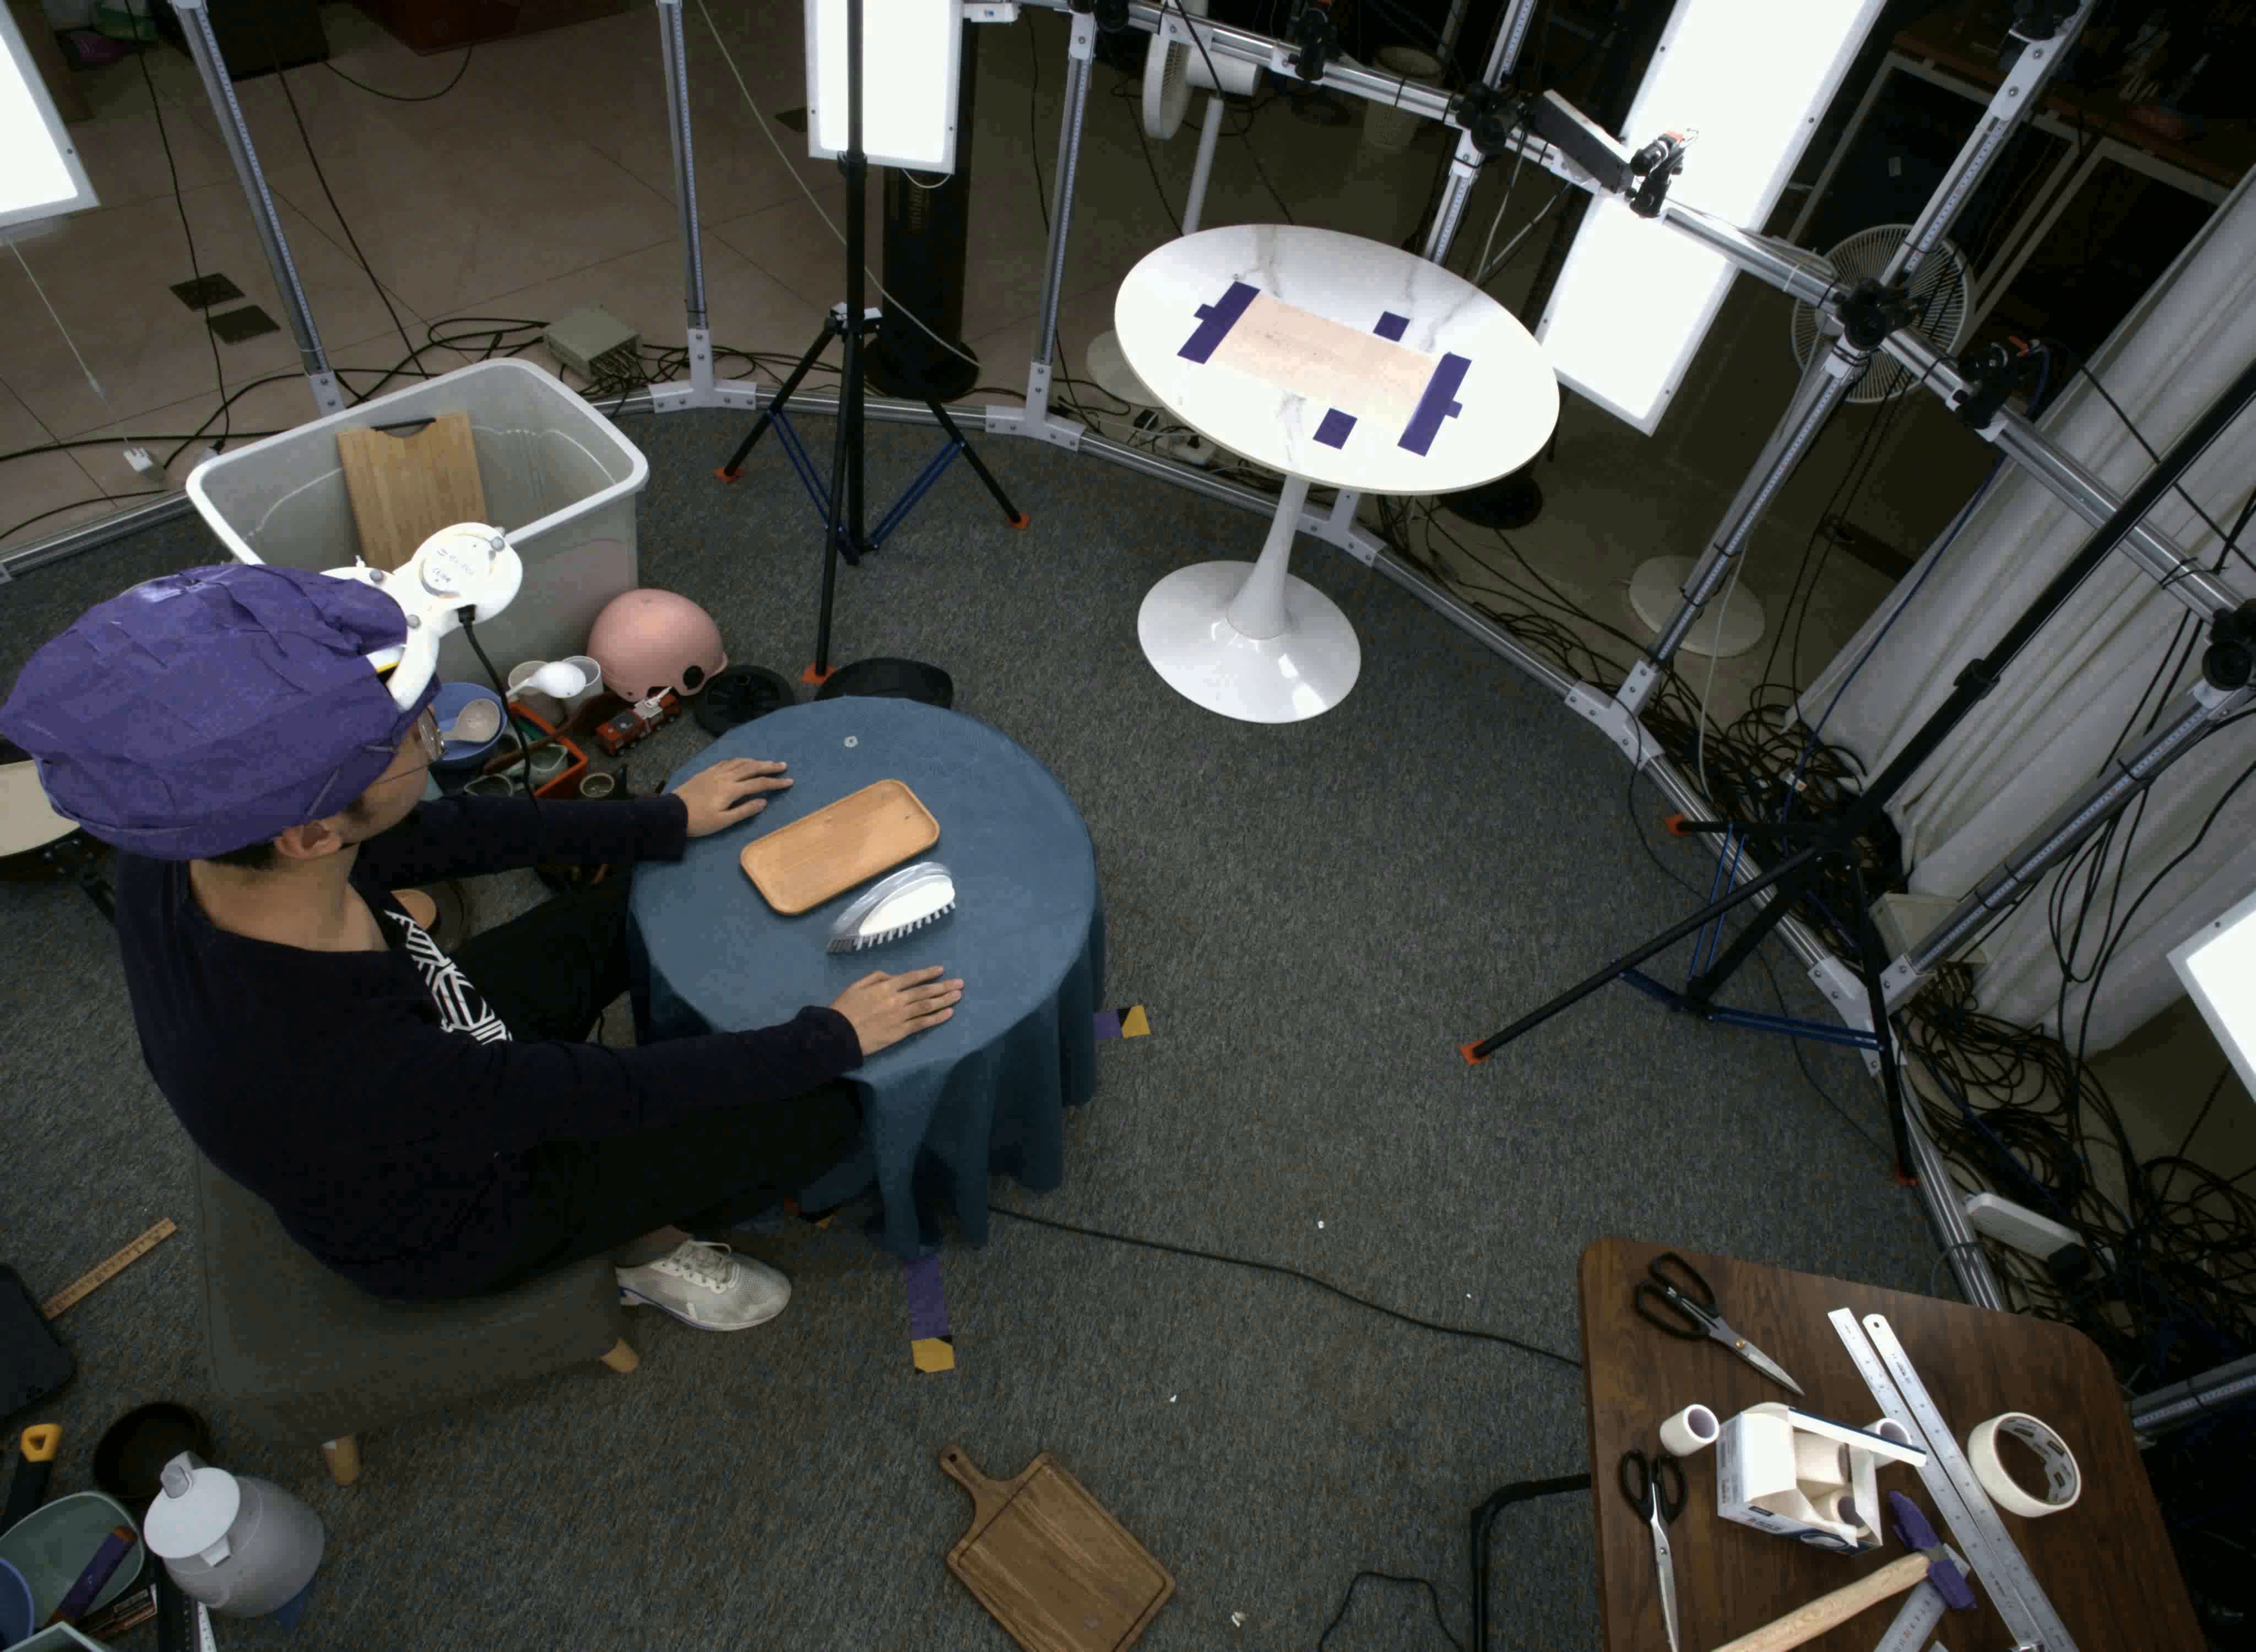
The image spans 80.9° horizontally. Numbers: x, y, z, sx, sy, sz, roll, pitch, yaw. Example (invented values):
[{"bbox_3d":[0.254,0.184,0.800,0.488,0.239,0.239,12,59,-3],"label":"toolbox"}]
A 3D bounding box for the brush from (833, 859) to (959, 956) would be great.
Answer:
[{"bbox_3d":[-0.295,0.097,1.627,0.176,0.096,0.060,-28,61,-27],"label":"brush"}]

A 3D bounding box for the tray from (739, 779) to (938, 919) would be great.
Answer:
[{"bbox_3d":[-0.378,0.027,1.707,0.251,0.023,0.127,-29,63,-29],"label":"tray"}]
